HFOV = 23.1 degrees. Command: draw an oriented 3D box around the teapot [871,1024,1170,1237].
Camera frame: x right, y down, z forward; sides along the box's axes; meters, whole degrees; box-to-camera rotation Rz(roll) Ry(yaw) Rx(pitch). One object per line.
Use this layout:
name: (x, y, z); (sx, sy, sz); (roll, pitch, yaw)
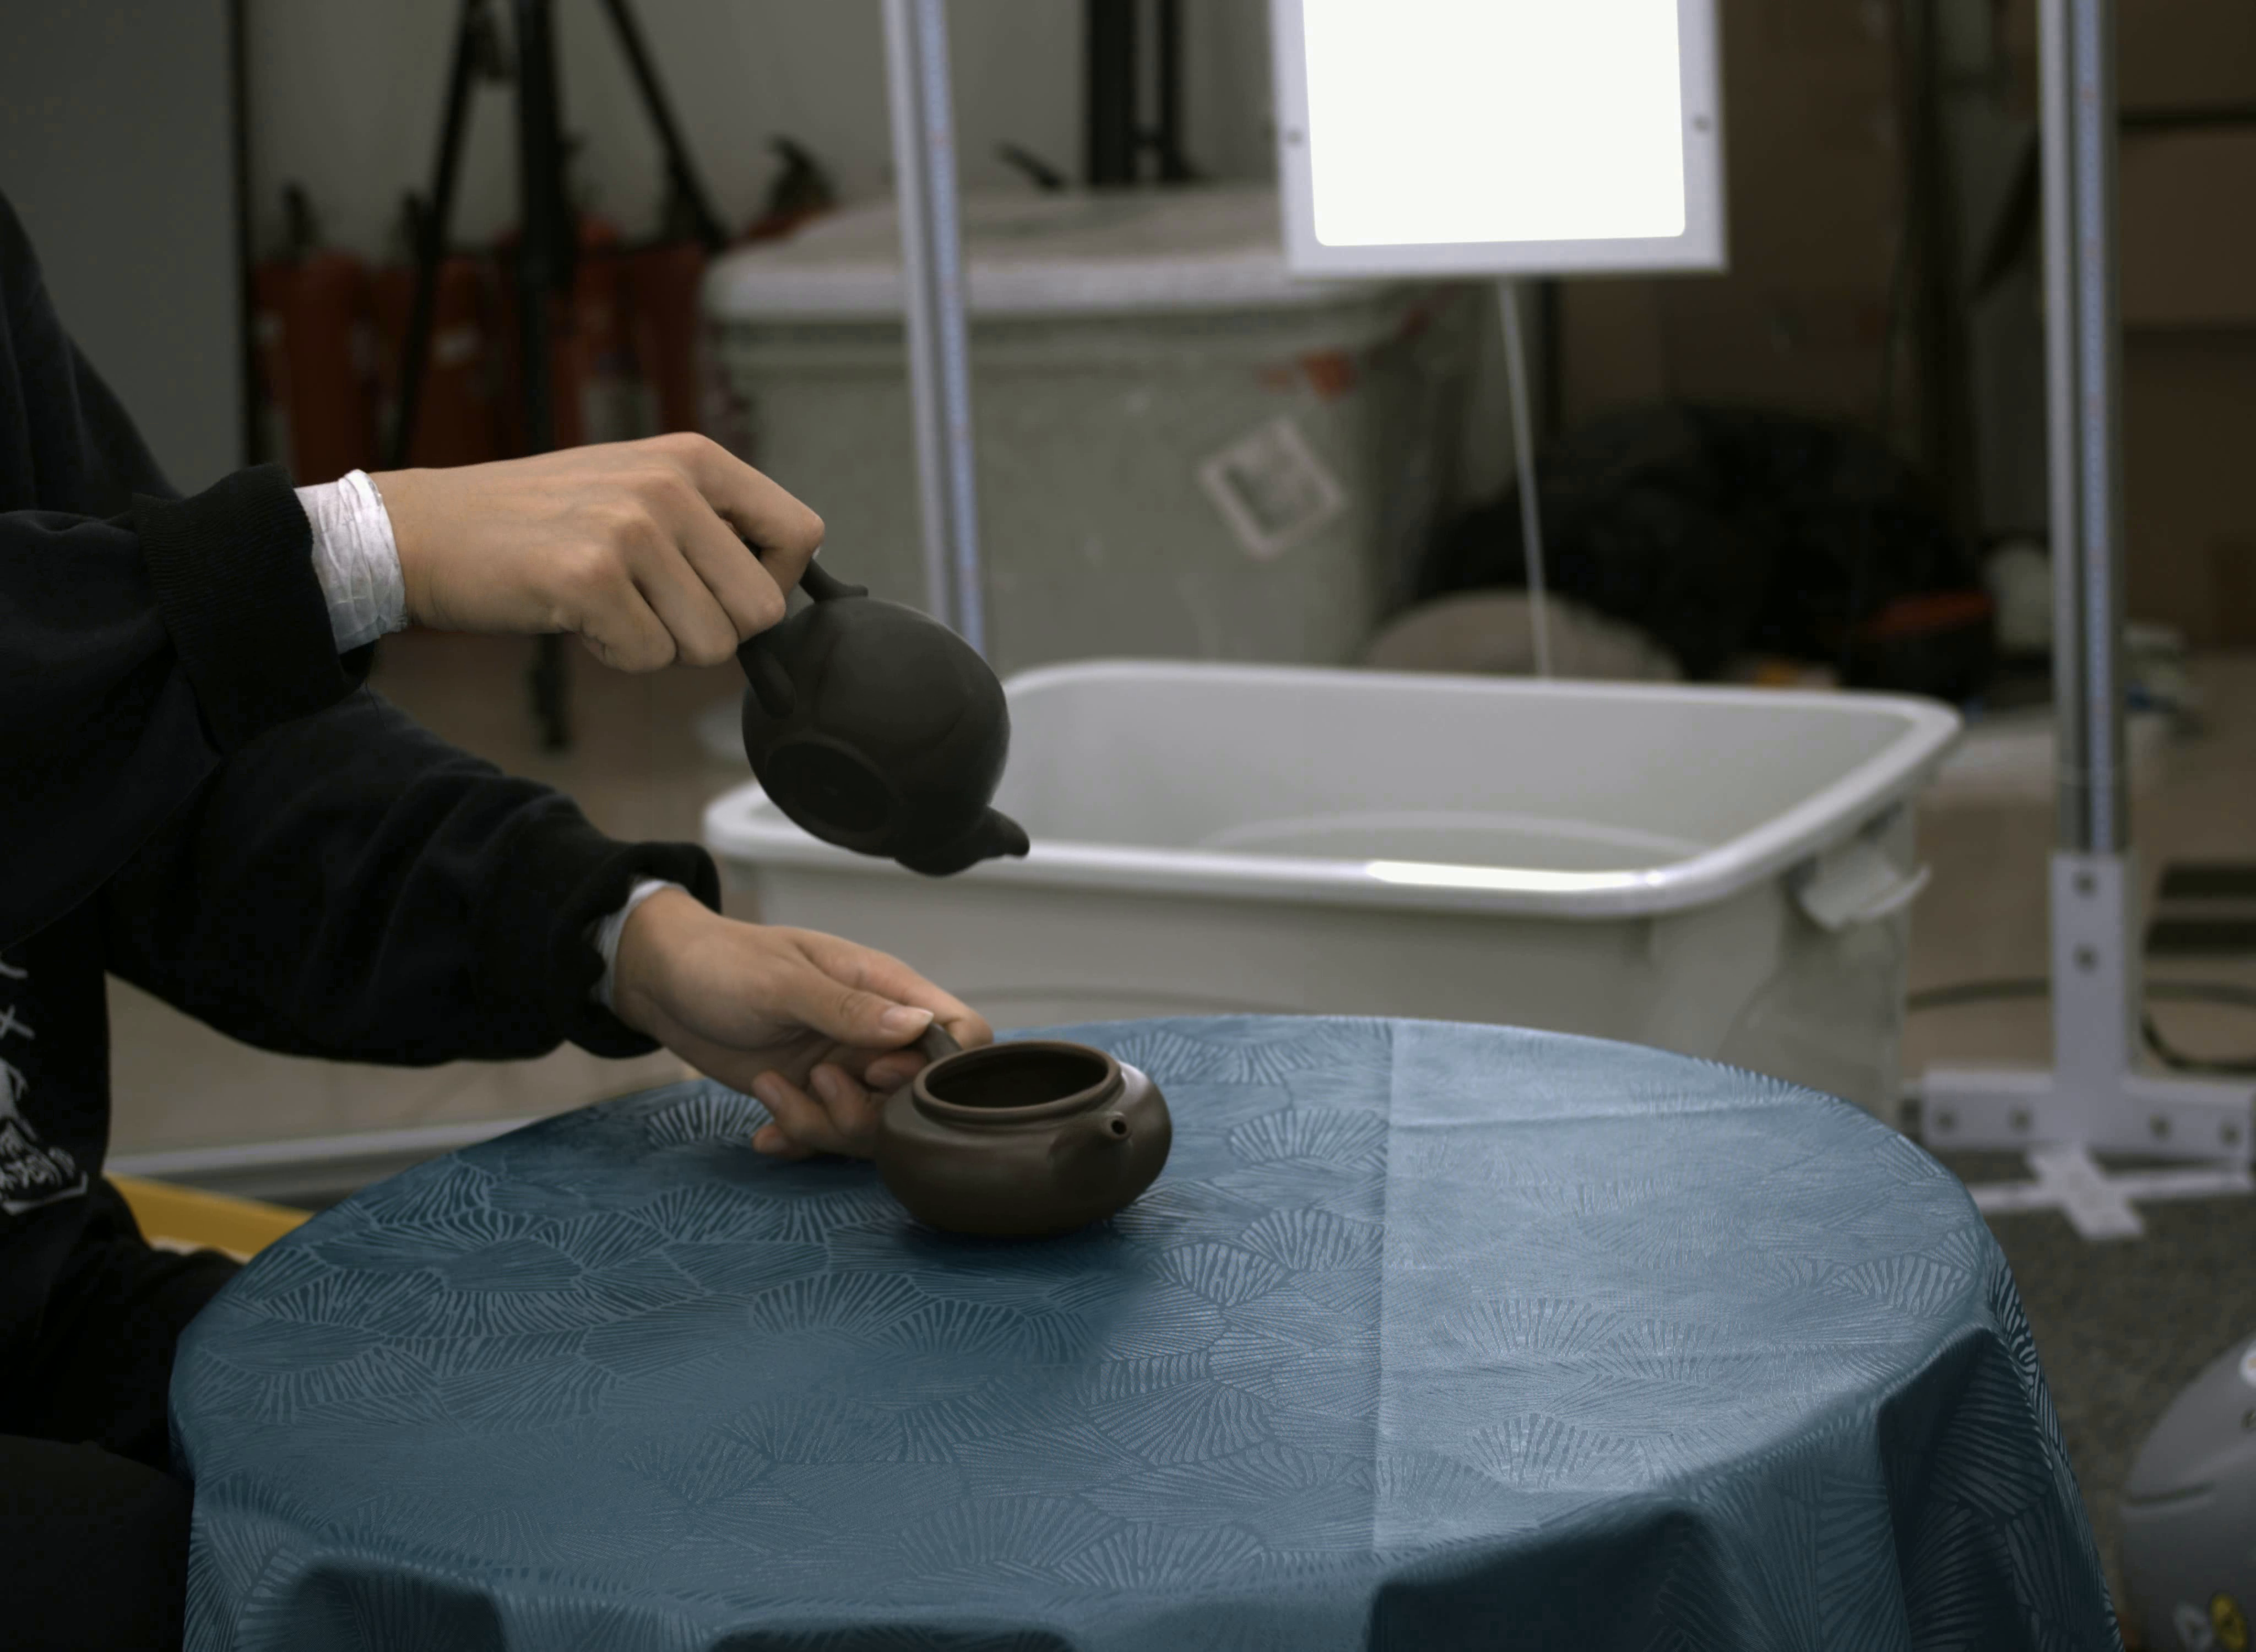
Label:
teapot: (-0.039, 0.104, 1.883); (0.100, 0.054, 0.156); (-14, 20, -32)

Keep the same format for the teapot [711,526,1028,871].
teapot: (-0.085, -0.035, 1.791); (0.094, 0.153, 0.063); (-15, 34, 43)
